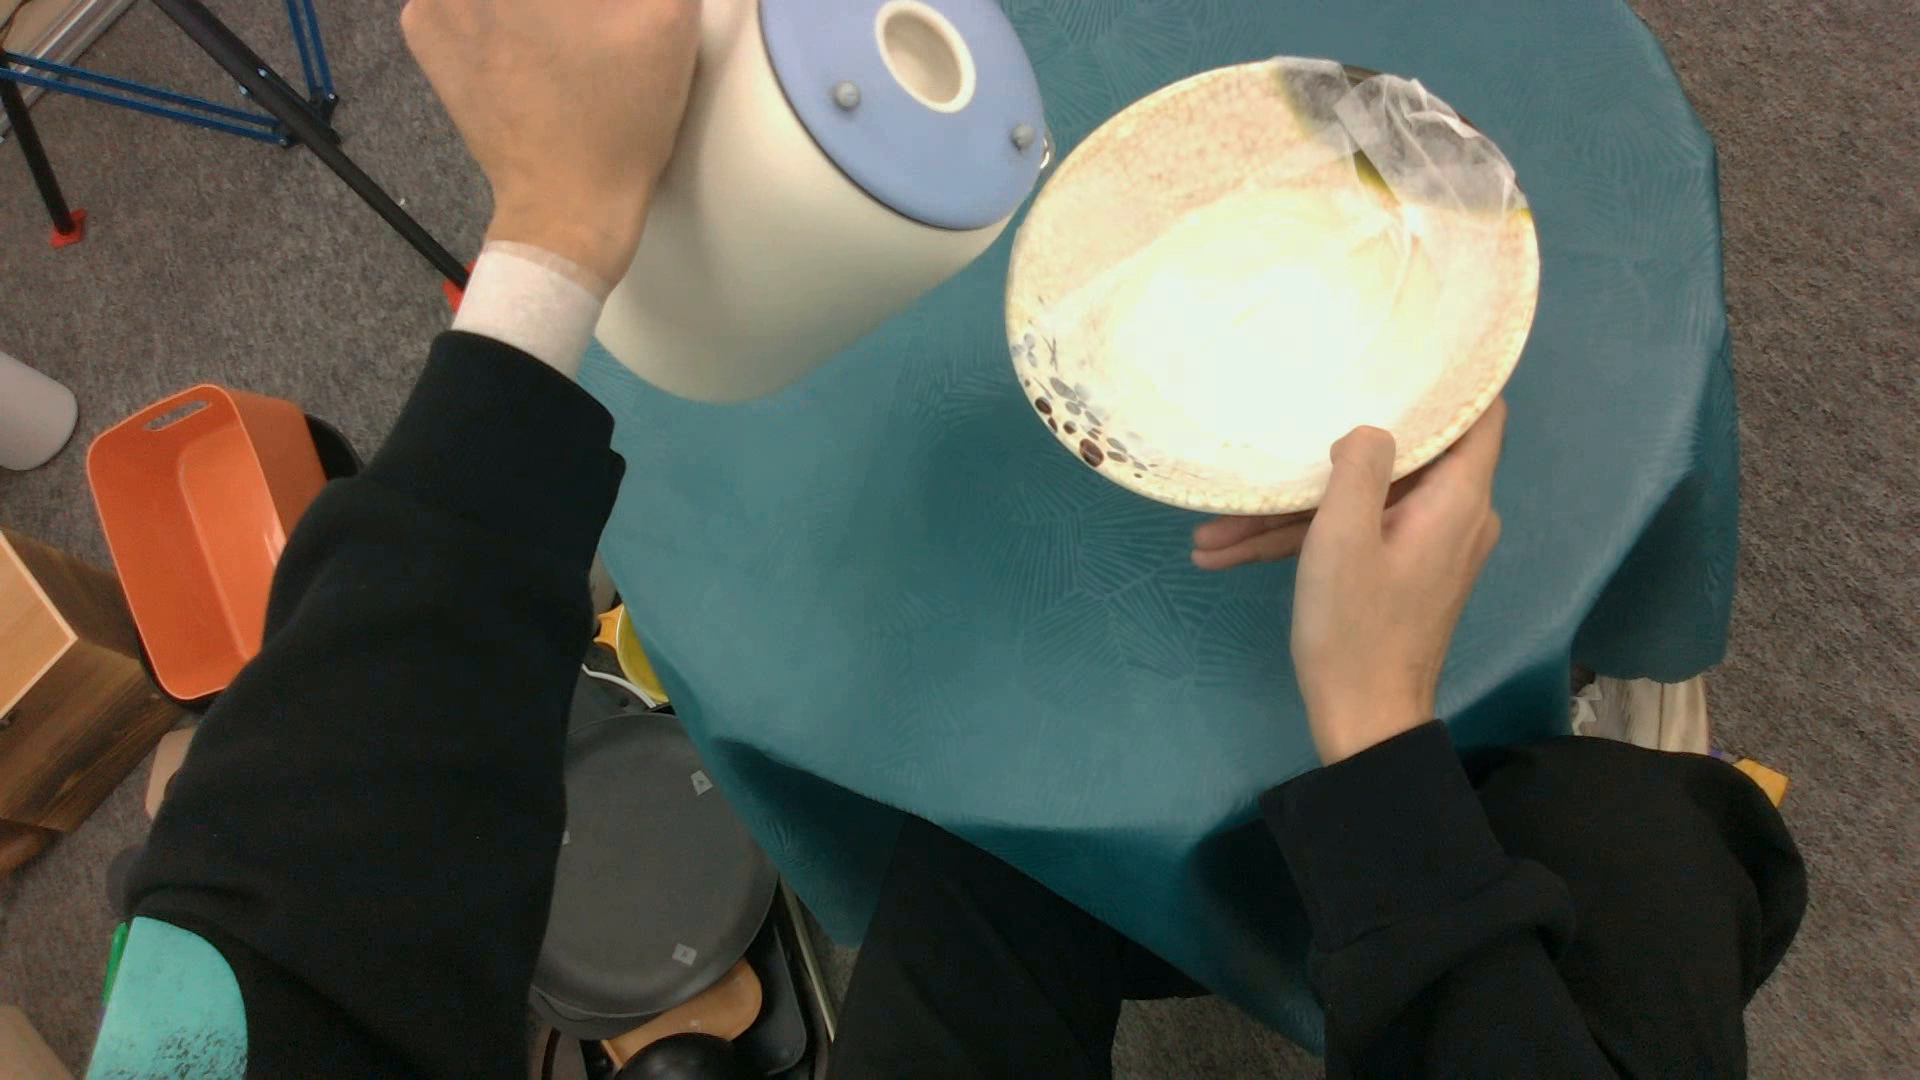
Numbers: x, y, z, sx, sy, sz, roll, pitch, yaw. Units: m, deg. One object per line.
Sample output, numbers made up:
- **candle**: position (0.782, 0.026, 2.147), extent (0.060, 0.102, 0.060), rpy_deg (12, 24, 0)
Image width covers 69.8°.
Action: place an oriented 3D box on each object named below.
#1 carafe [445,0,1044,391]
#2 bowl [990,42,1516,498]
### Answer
- **carafe**: position (-0.091, -0.152, 0.524), extent (0.181, 0.191, 0.132), rpy_deg (-26, 57, 48)
- **bowl**: position (0.120, -0.100, 0.575), extent (0.204, 0.078, 0.204), rpy_deg (-5, 69, 14)
